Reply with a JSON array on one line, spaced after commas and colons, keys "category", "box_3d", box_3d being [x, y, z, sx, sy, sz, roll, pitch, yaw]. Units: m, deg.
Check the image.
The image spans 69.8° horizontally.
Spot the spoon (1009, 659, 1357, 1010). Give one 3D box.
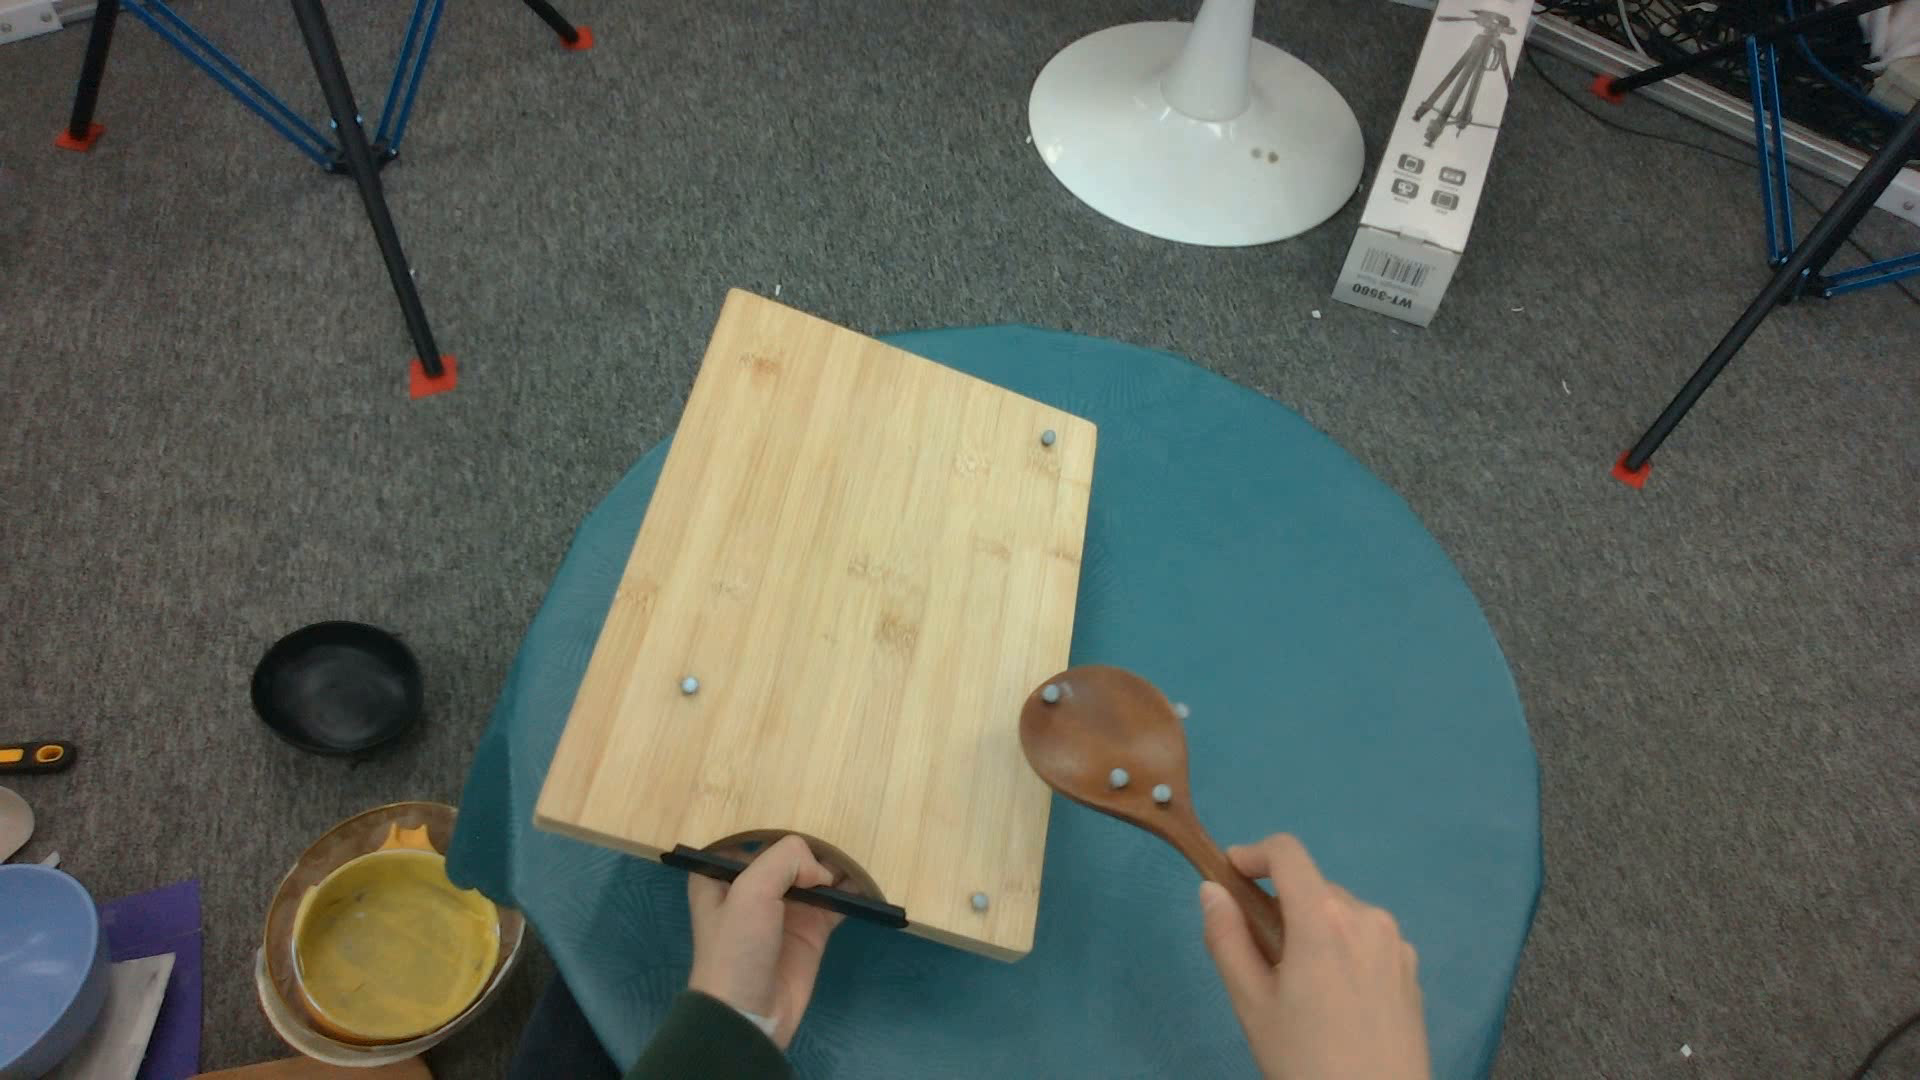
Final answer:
[{"category": "spoon", "box_3d": [0.094, 0.120, 0.600, 0.075, 0.017, 0.216, -23, 39, -18]}]

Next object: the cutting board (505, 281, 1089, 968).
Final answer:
[{"category": "cutting board", "box_3d": [-0.062, 0.028, 0.735, 0.251, 0.023, 0.350, 18, 53, -12]}]
